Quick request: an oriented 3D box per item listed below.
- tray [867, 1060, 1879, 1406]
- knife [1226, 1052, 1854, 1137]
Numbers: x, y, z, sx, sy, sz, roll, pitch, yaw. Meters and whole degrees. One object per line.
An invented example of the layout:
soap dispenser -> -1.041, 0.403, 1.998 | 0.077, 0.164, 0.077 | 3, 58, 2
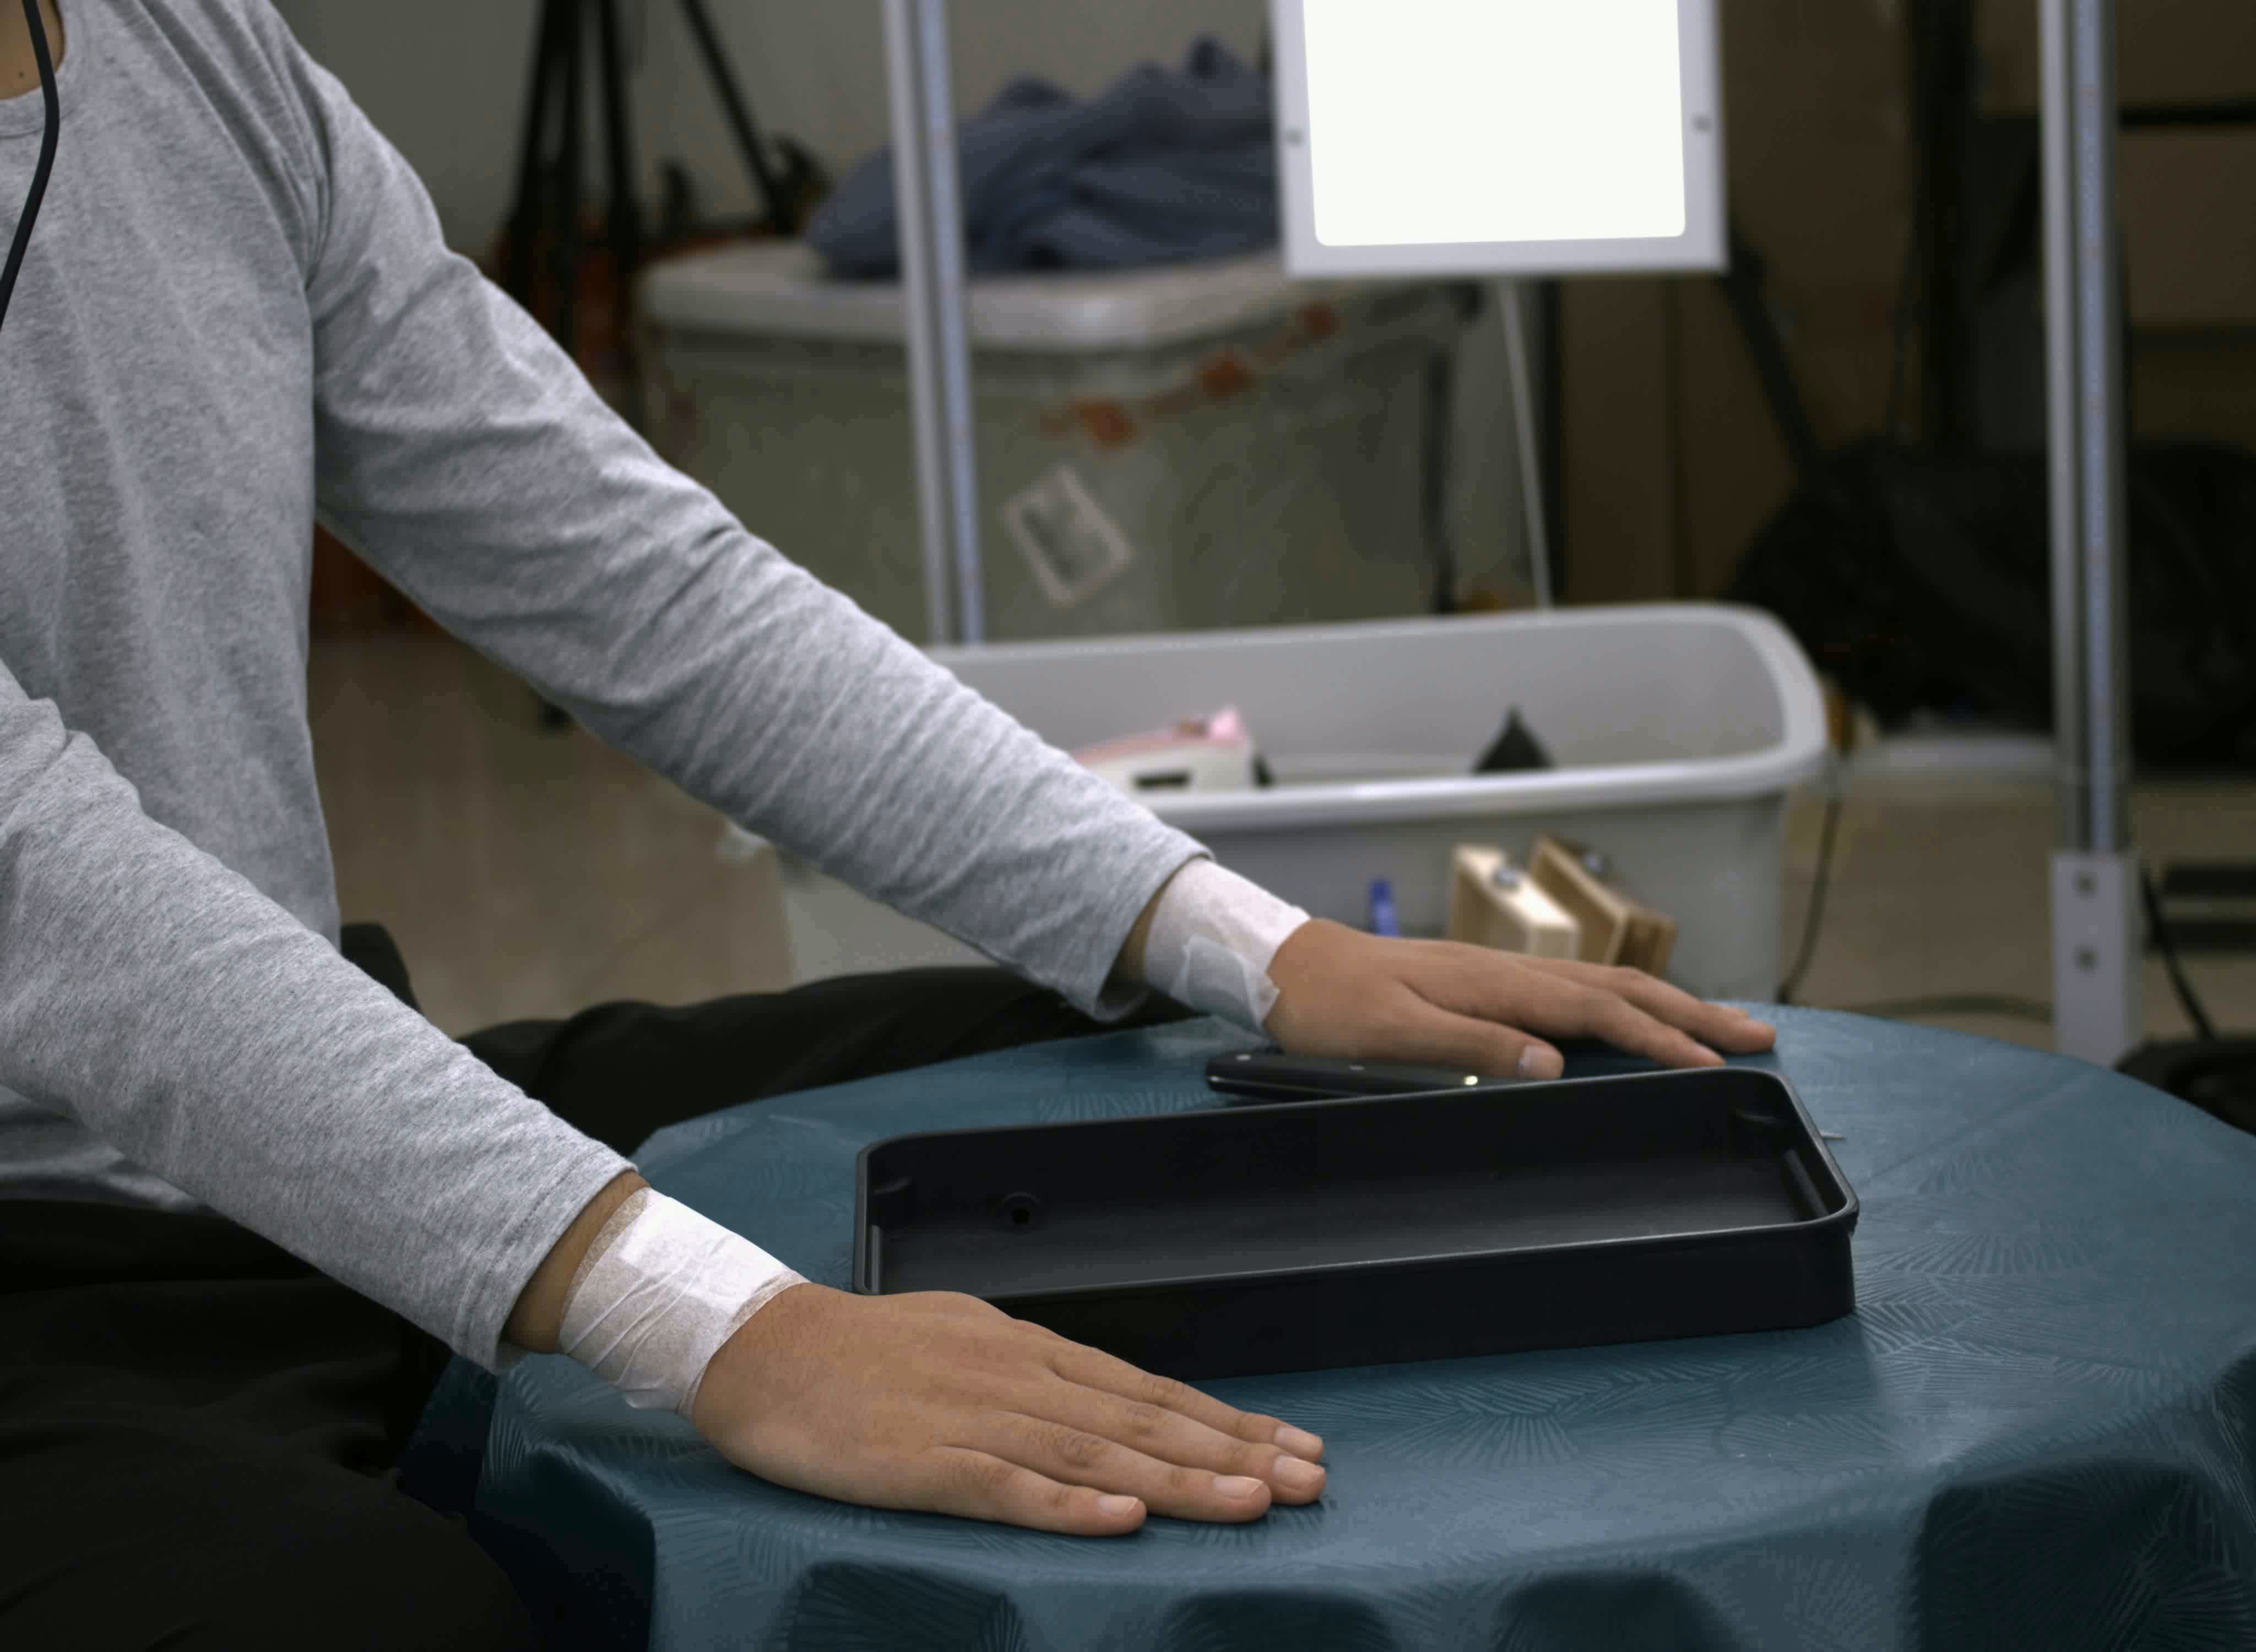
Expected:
tray -> 0.076, 0.130, 1.787 | 0.317, 0.037, 0.184 | -6, 13, 0
knife -> 0.142, 0.098, 1.944 | 0.242, 0.016, 0.024 | 5, 20, 26
